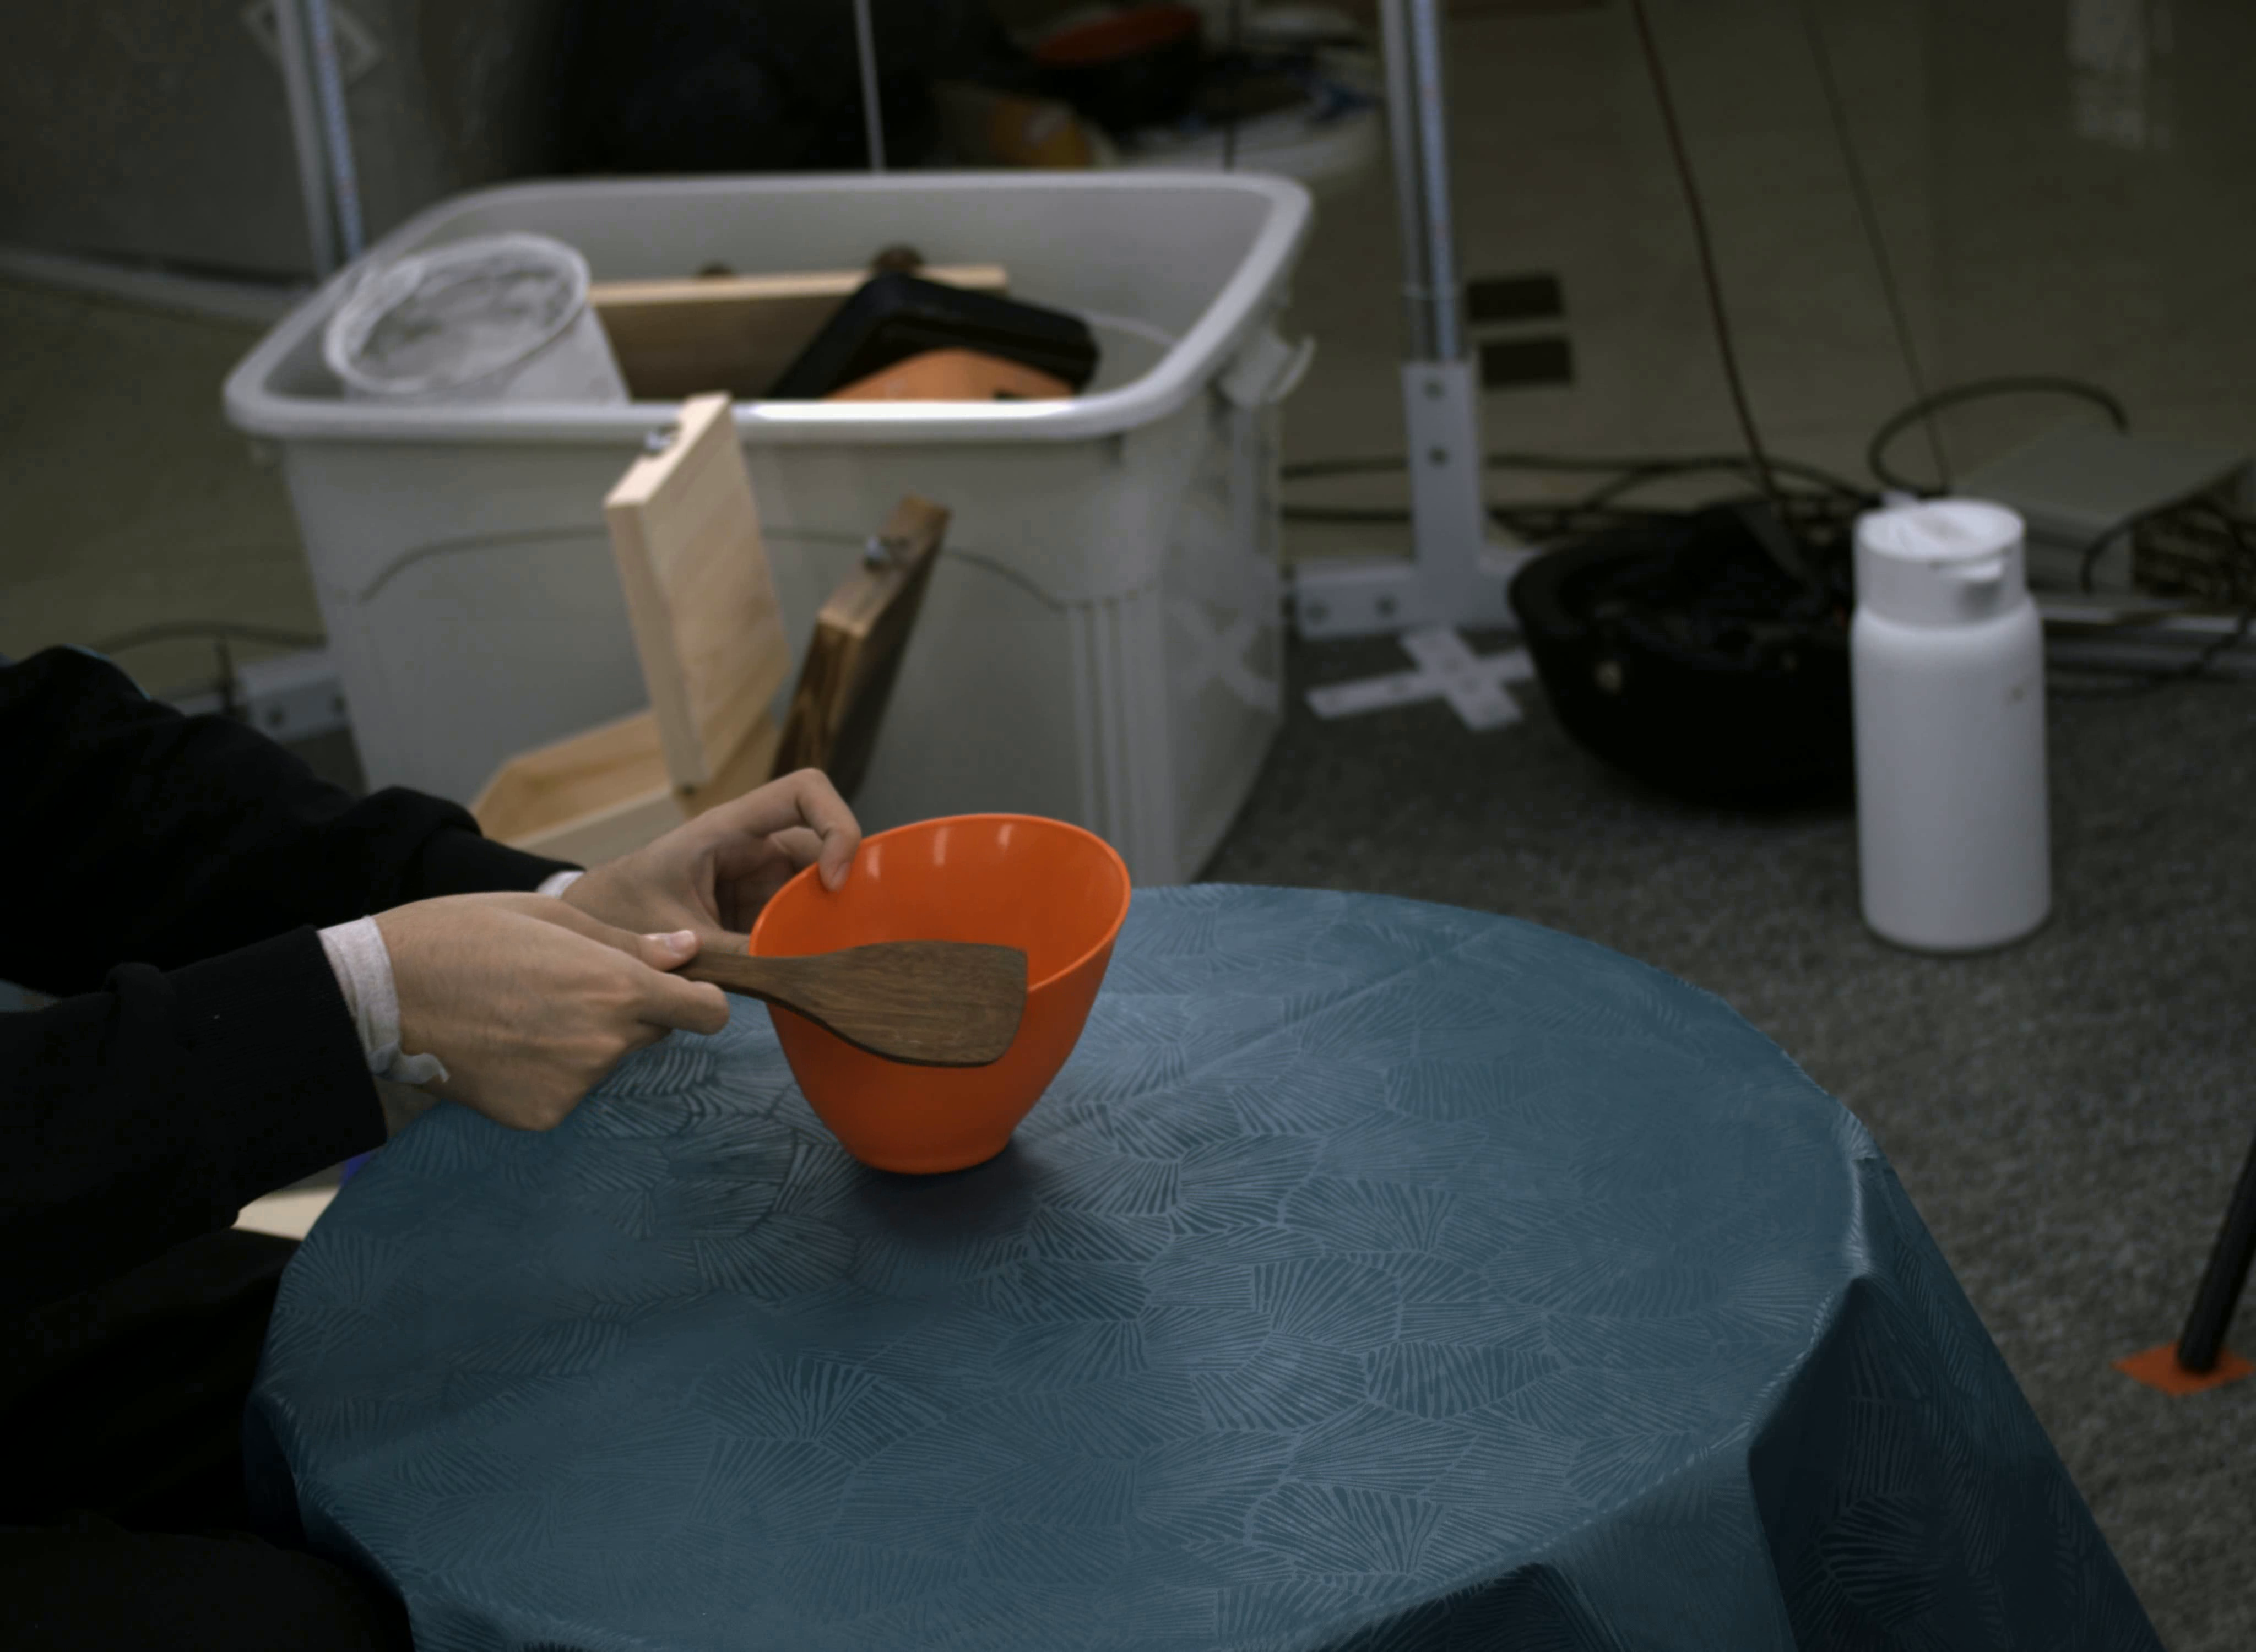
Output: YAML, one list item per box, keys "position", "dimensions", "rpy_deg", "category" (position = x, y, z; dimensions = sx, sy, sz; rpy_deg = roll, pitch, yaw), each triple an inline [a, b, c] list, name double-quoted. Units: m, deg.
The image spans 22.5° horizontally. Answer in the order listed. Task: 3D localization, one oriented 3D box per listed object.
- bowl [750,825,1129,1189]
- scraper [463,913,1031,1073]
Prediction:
- position: [-0.069, 0.076, 2.184]
  dimensions: [0.148, 0.106, 0.146]
  rpy_deg: [-3, 26, 2]
  category: "bowl"
- position: [-0.141, 0.055, 2.092]
  dimensions: [0.211, 0.011, 0.074]
  rpy_deg: [9, 36, 2]
  category: "scraper"
